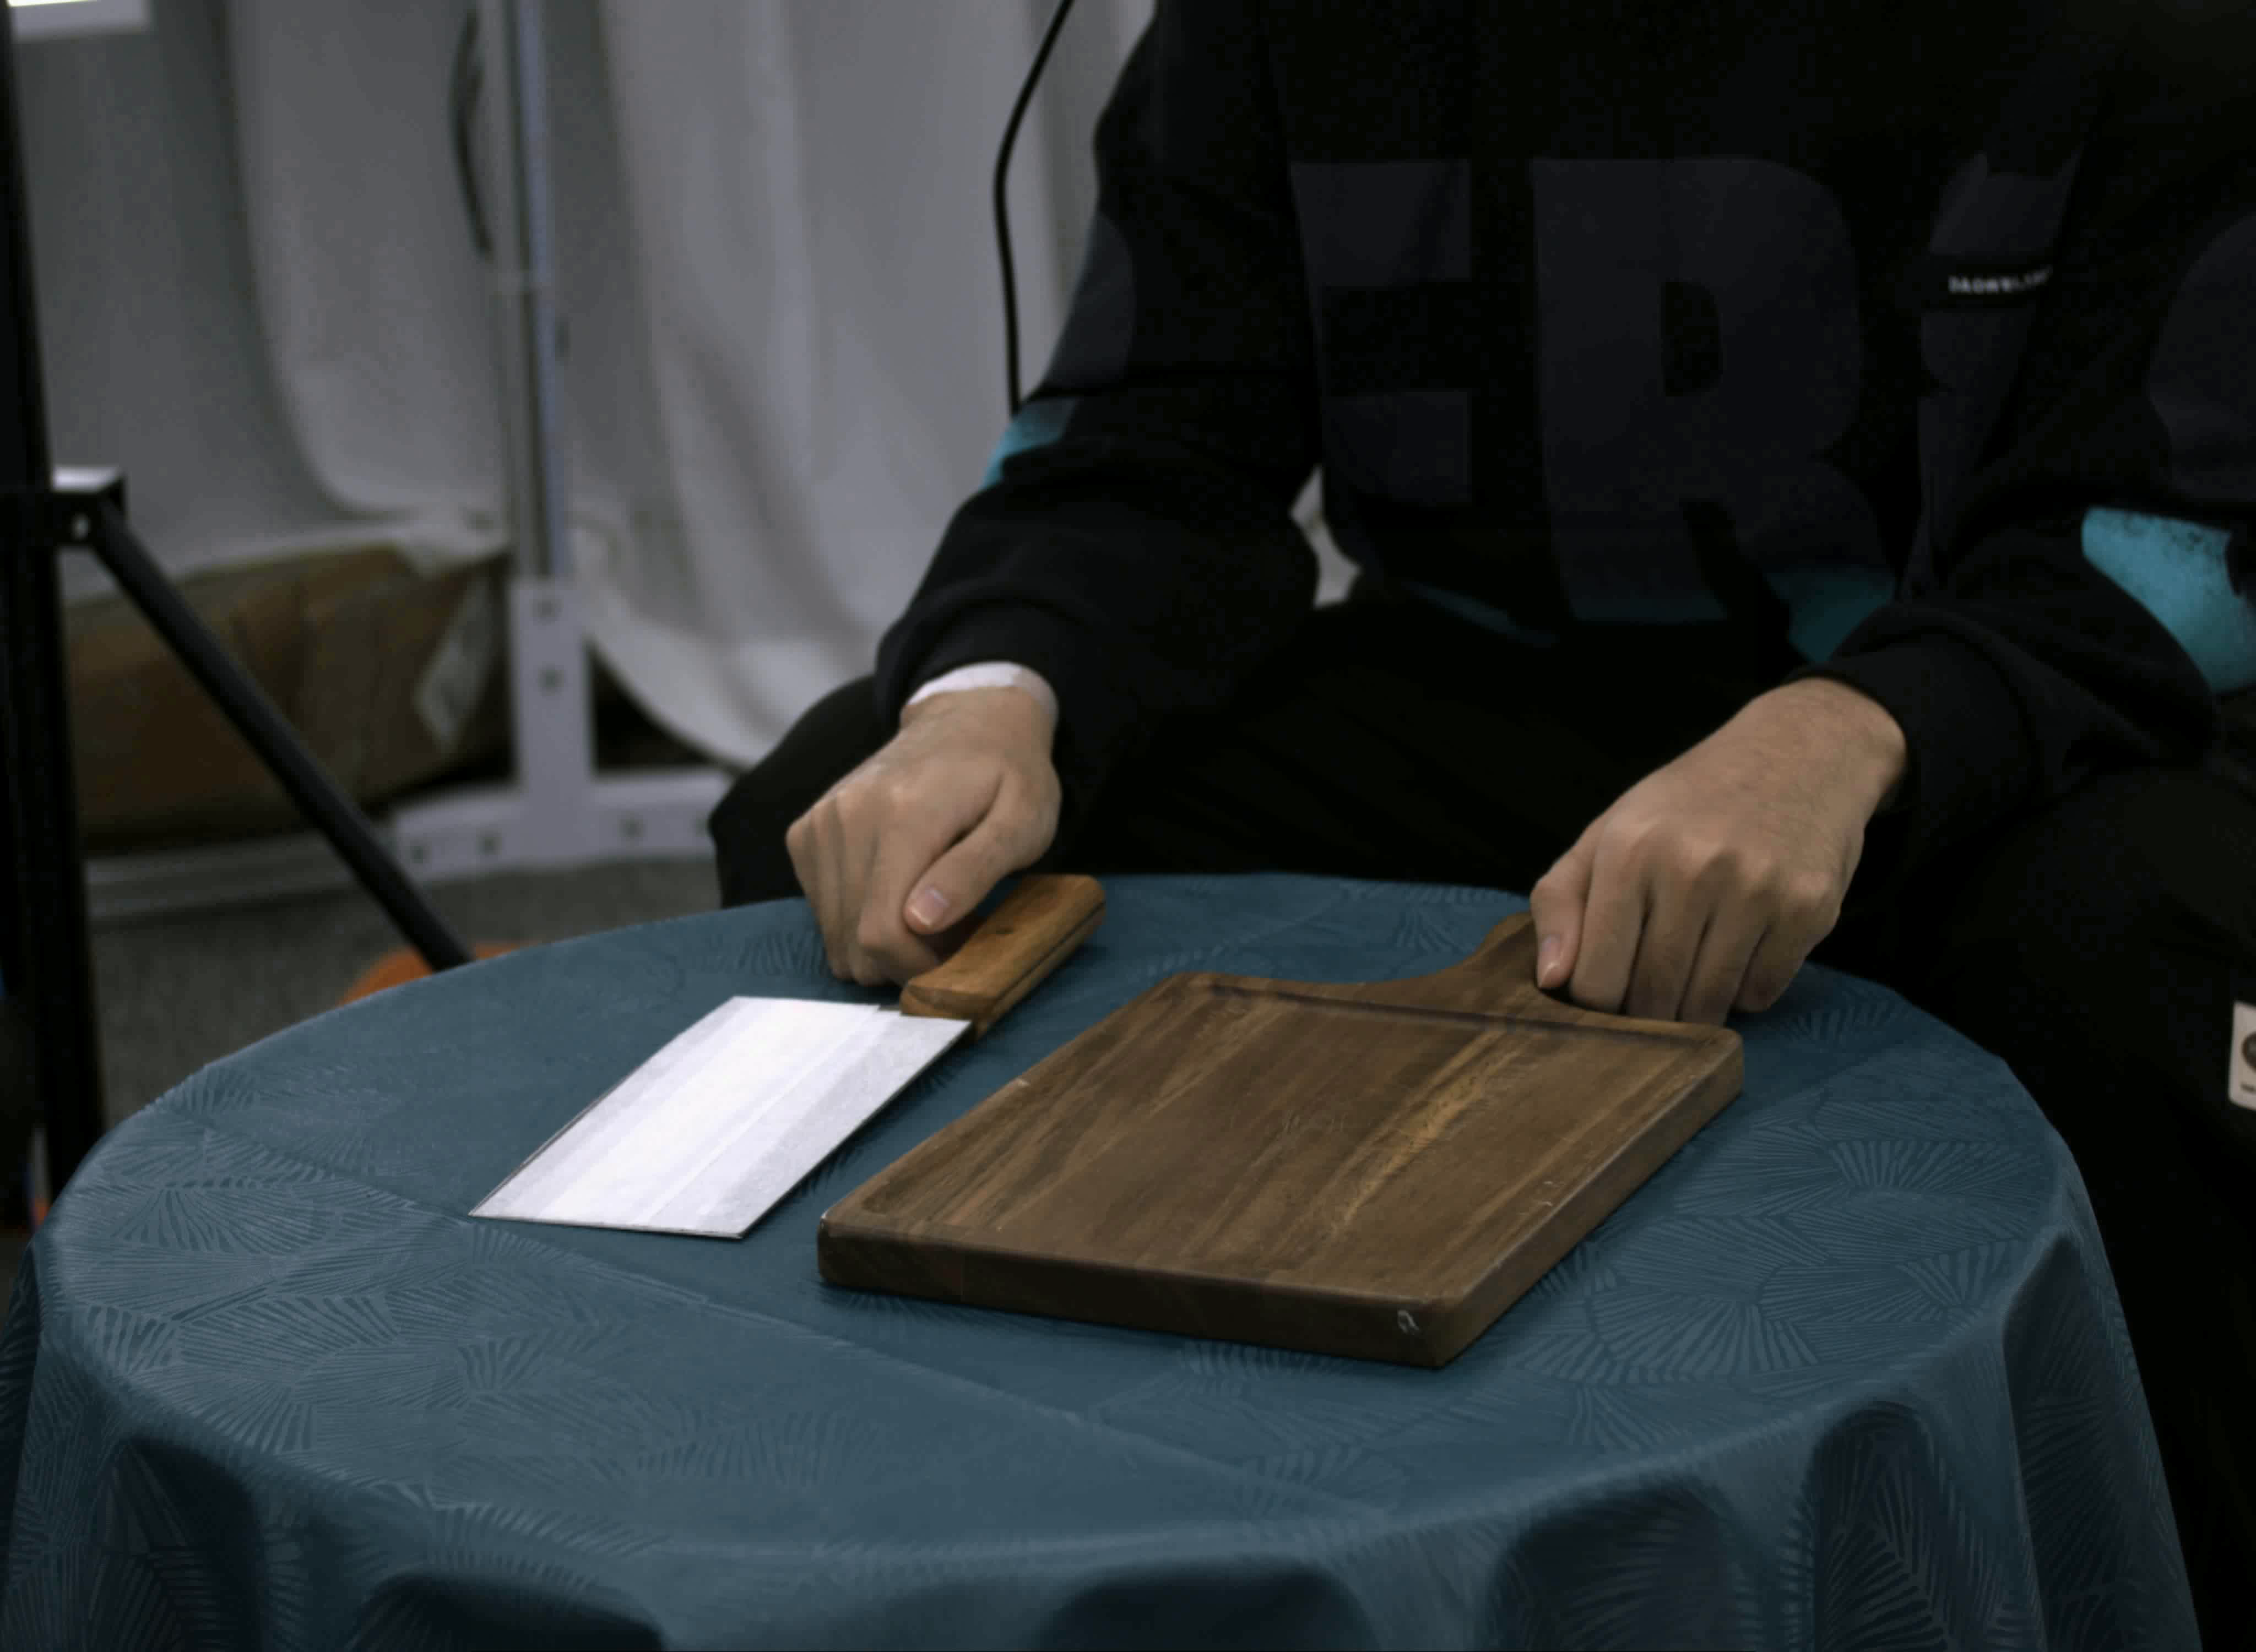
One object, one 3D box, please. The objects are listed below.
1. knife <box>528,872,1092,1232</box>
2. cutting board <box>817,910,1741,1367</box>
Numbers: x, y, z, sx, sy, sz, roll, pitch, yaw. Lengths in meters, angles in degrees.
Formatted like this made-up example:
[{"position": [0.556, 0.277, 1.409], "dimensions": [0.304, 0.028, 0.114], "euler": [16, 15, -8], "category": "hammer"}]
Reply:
[{"position": [-0.099, 0.070, 1.682], "dimensions": [0.094, 0.021, 0.302], "euler": [2, 19, 21], "category": "knife"}, {"position": [0.070, 0.083, 1.595], "dimensions": [0.204, 0.023, 0.347], "euler": [5, 17, 25], "category": "cutting board"}]
